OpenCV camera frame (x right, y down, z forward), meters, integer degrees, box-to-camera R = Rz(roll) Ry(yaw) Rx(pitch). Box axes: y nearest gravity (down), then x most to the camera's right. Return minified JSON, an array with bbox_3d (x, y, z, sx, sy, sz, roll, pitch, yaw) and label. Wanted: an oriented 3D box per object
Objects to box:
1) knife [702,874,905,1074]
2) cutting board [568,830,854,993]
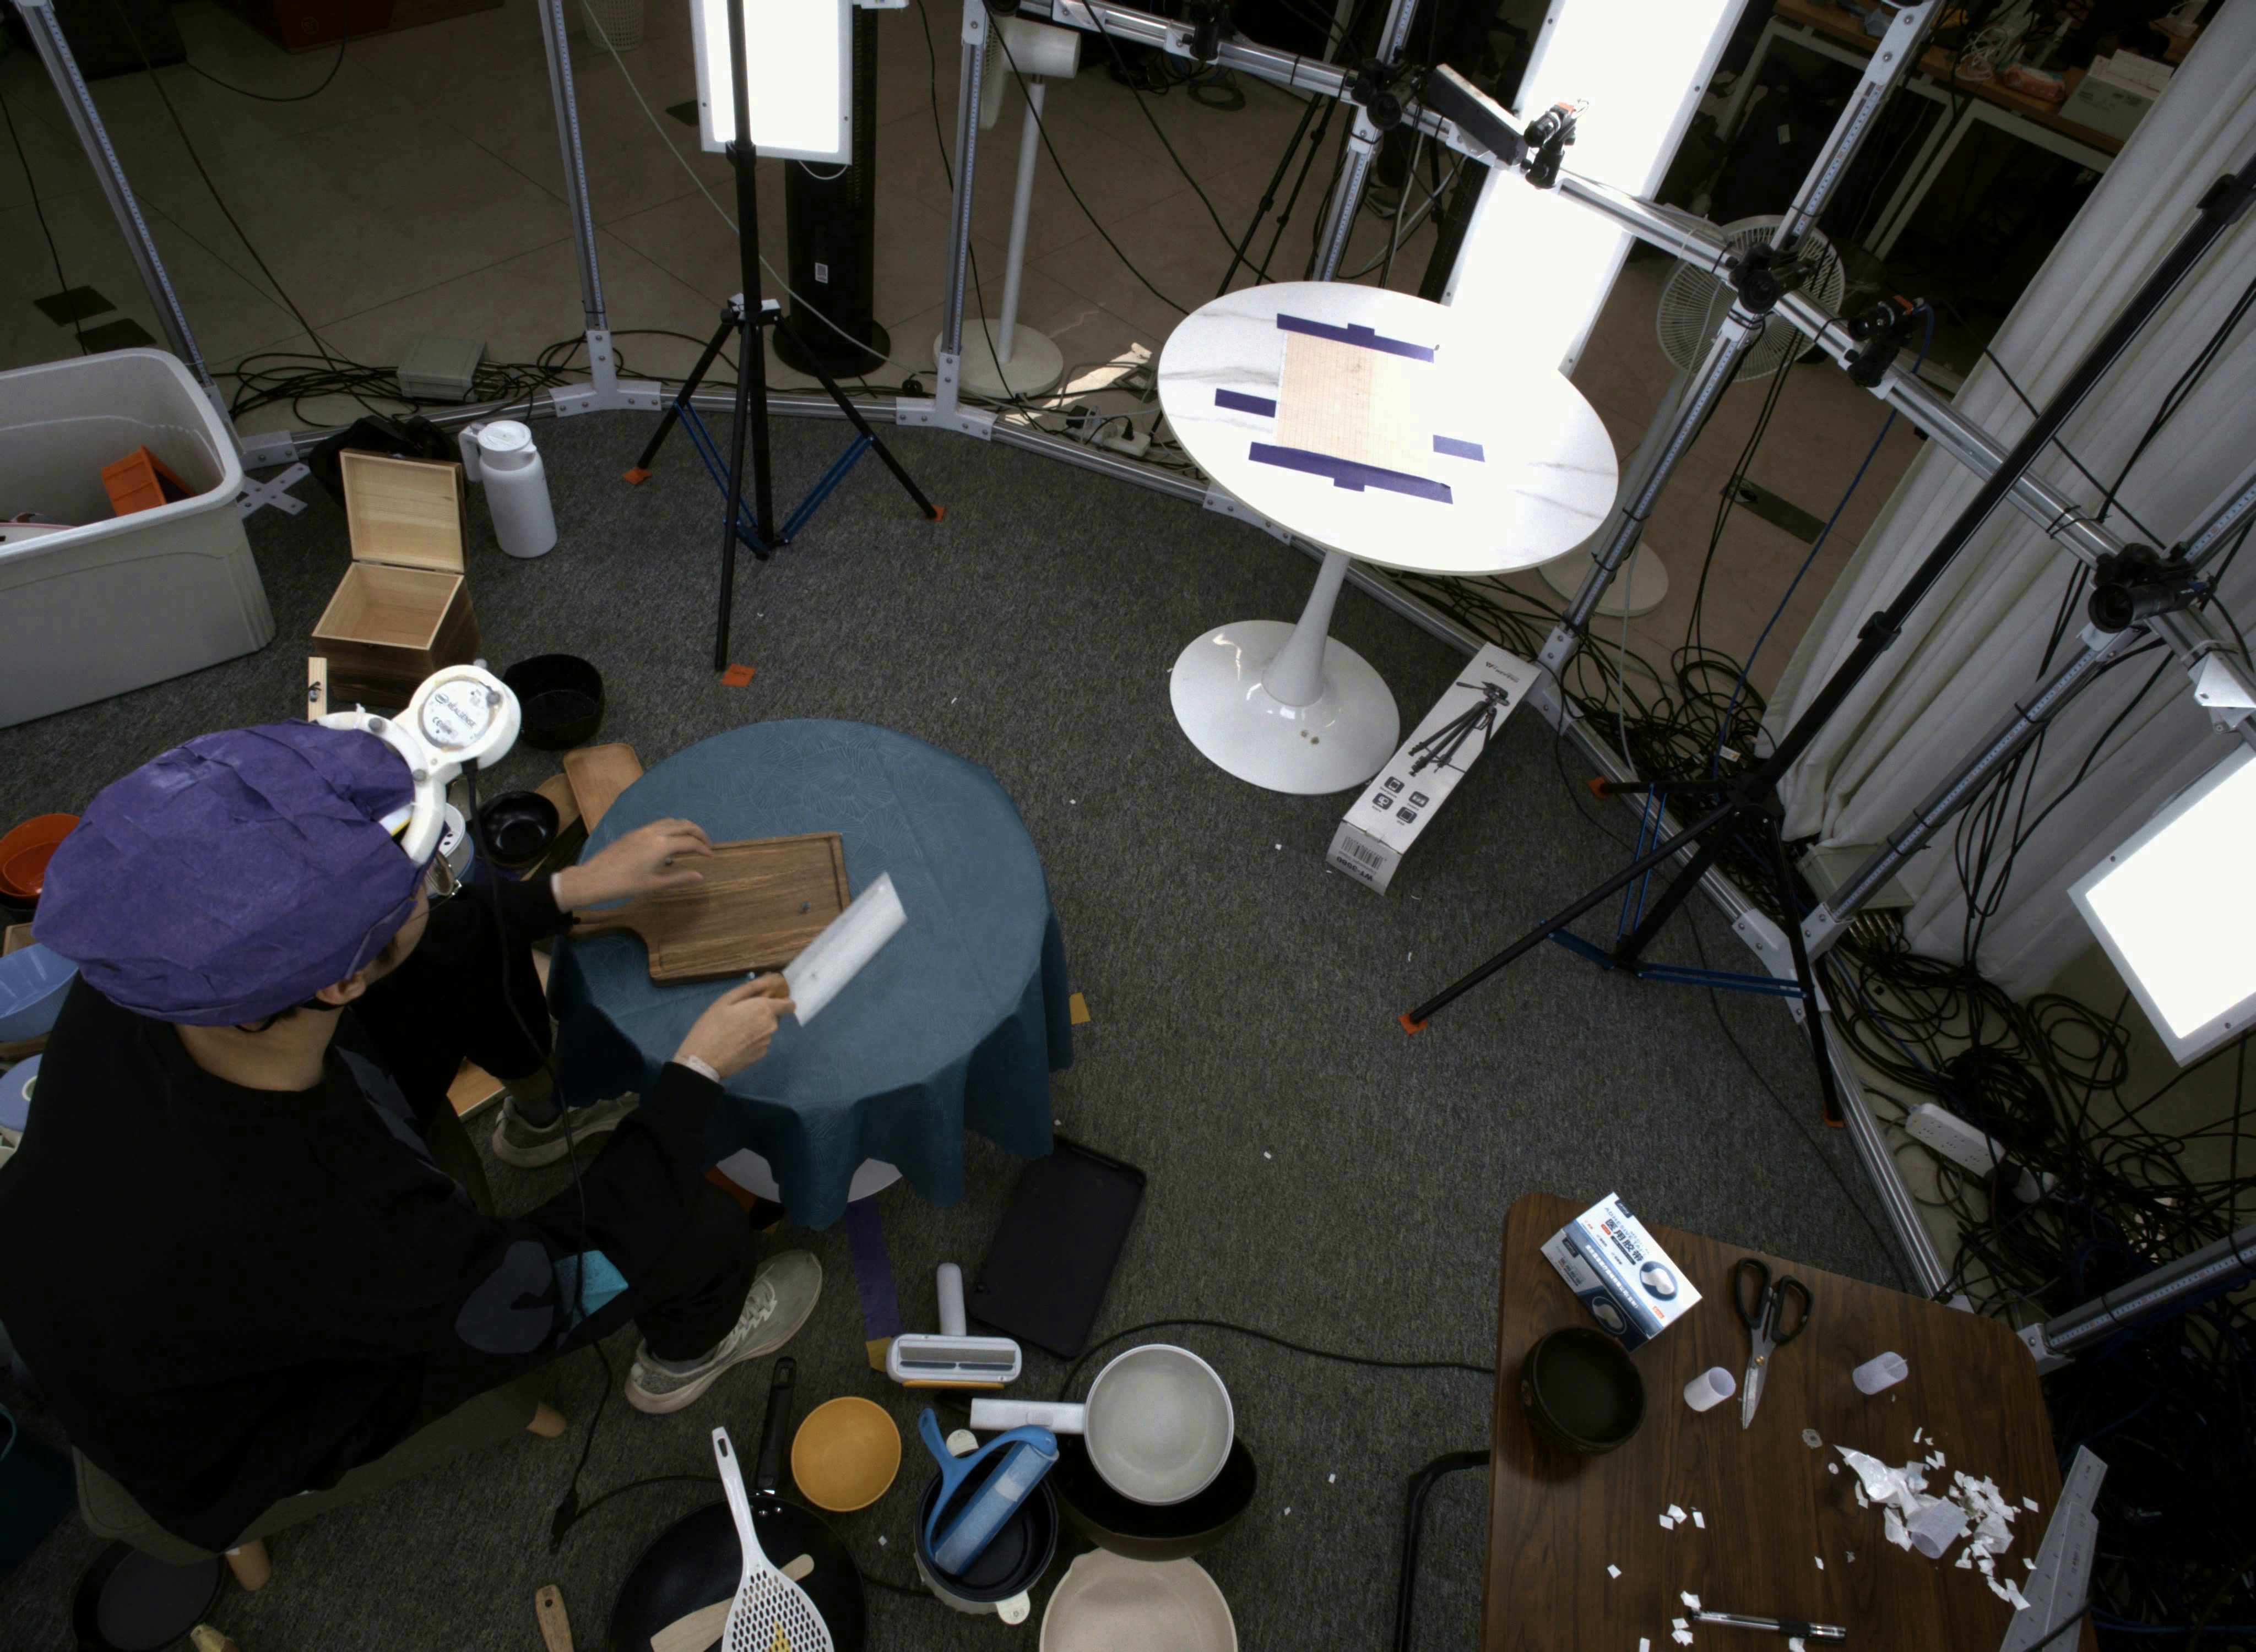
[{"bbox_3d":[-0.365,0.180,1.502,0.020,0.096,0.305,20,52,31],"label":"knife"},{"bbox_3d":[-0.519,0.105,1.595,0.354,0.023,0.196,-7,55,-20],"label":"cutting board"}]
